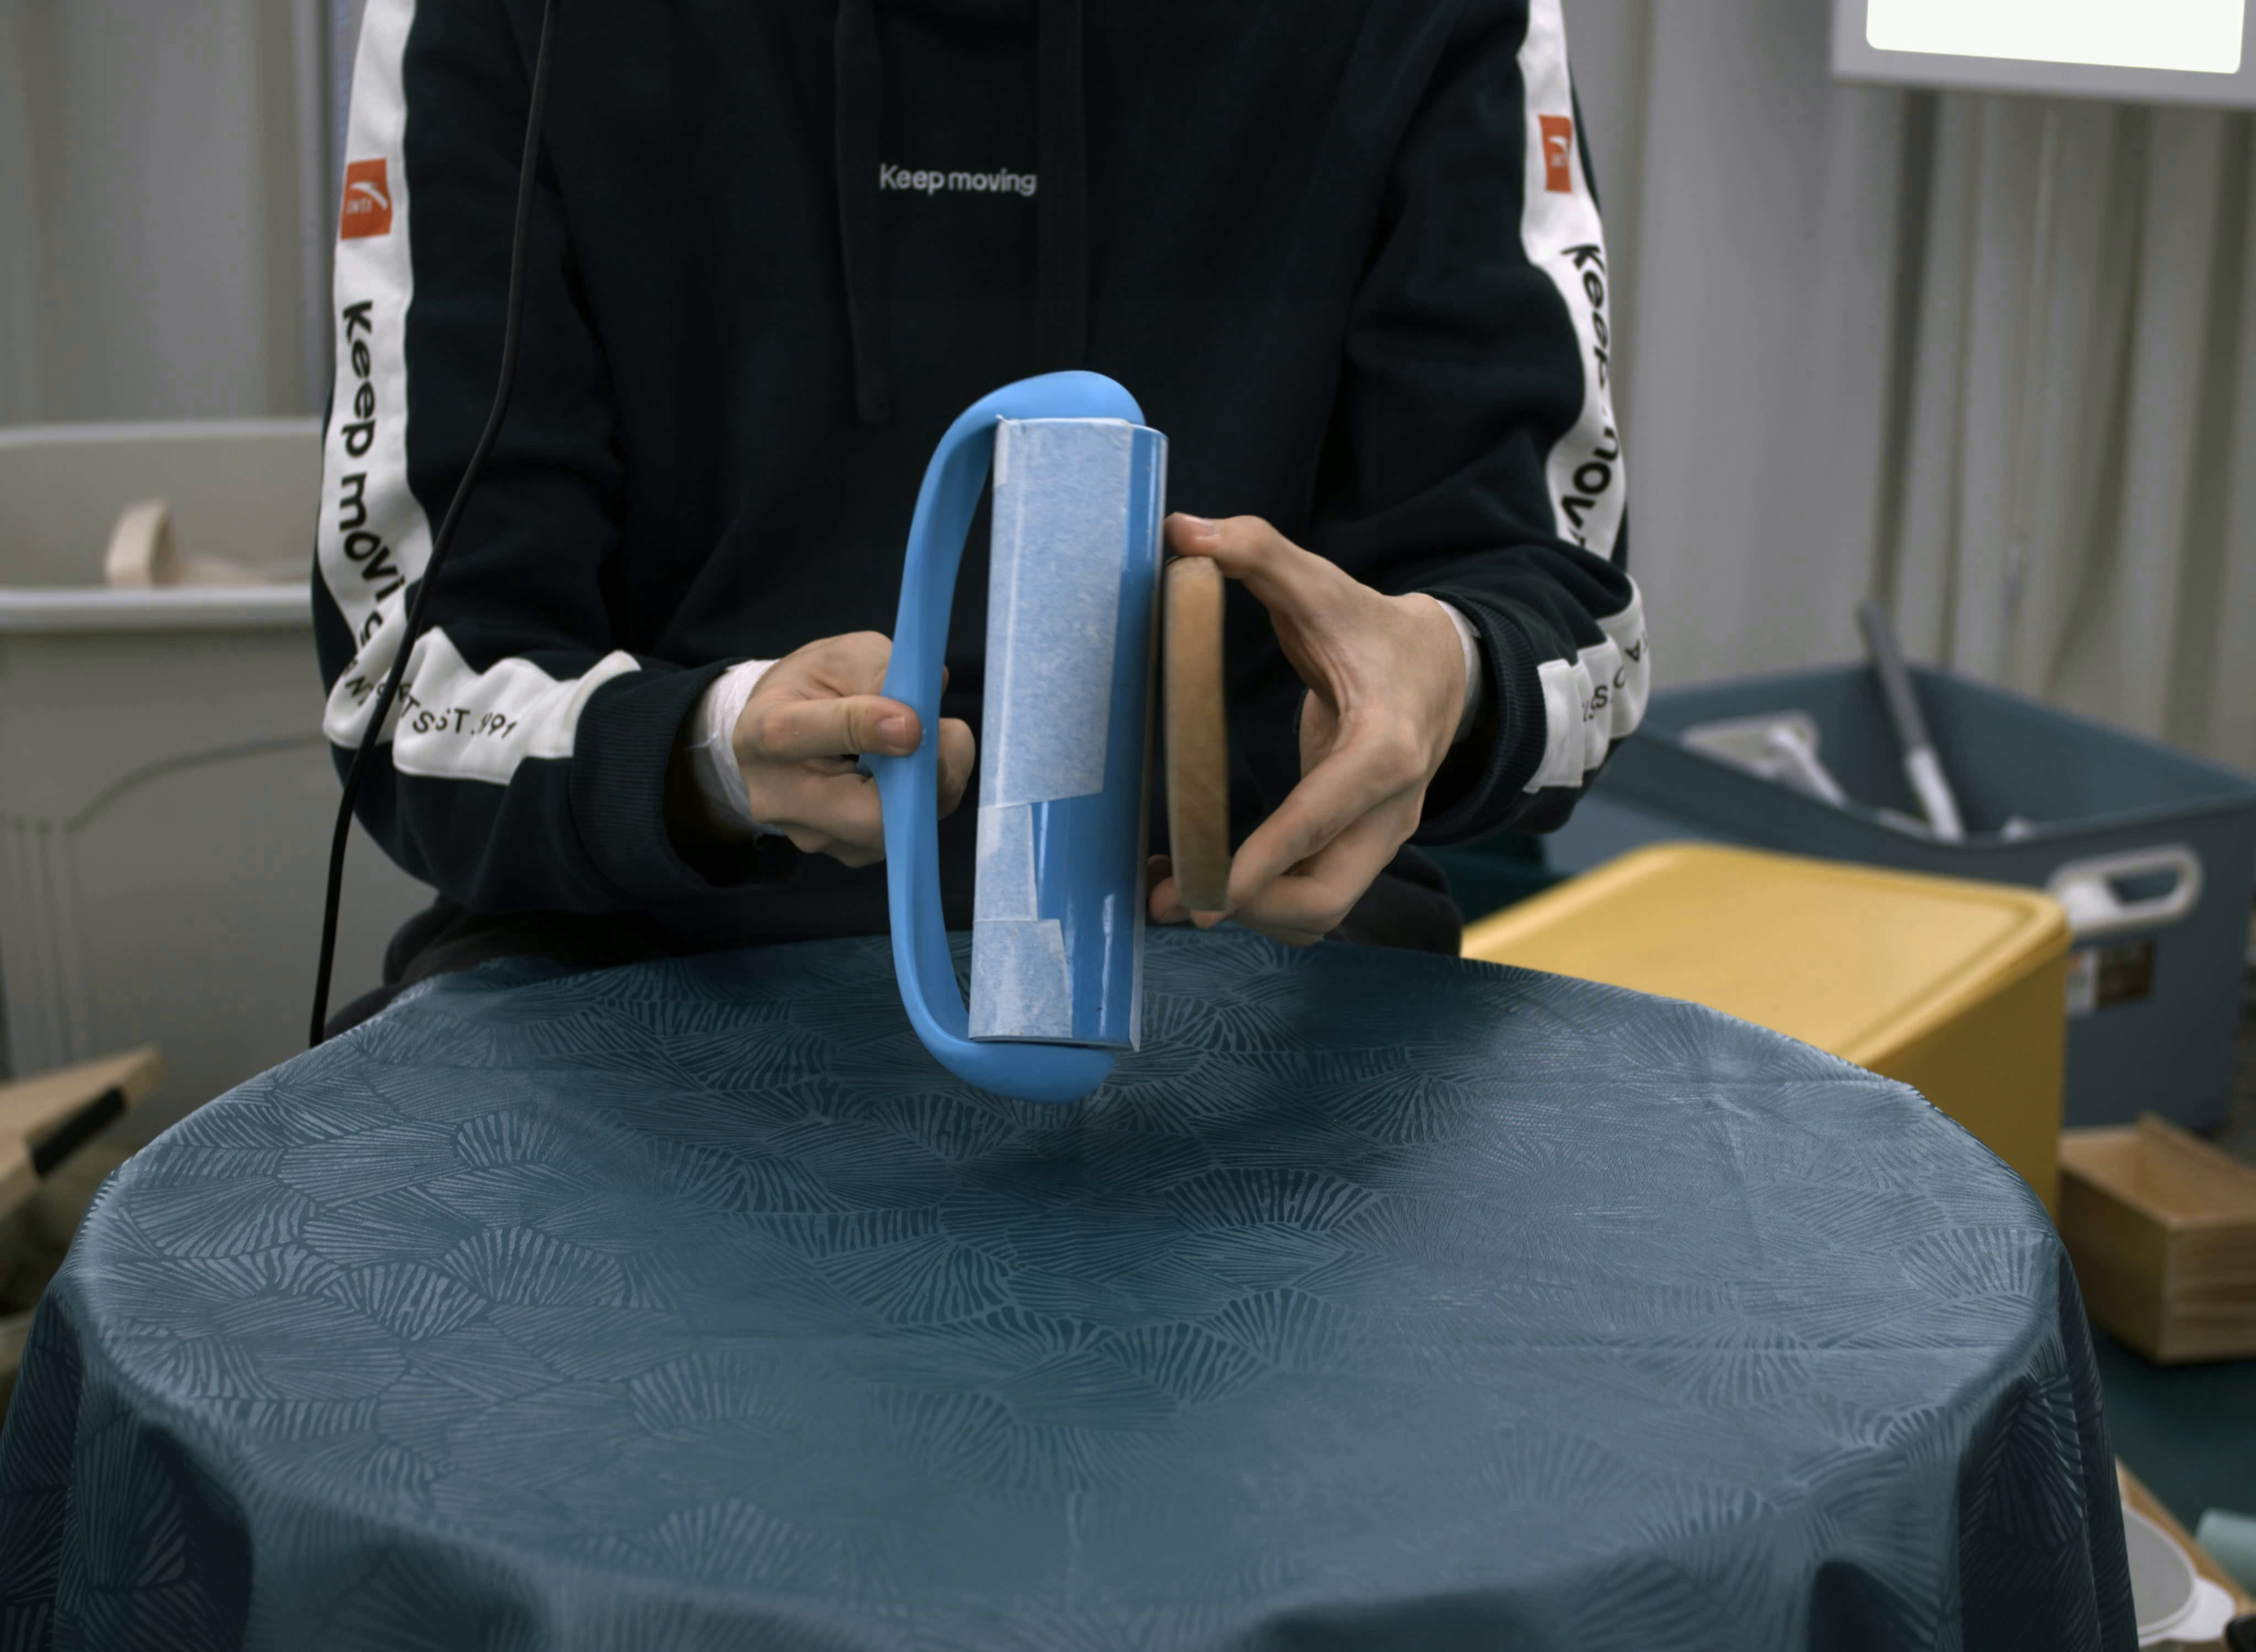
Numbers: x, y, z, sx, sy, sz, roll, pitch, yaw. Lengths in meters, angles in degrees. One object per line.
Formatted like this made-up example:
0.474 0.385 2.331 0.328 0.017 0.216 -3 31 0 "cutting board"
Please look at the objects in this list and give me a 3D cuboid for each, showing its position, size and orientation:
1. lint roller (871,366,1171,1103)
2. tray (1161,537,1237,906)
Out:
-0.049 -0.023 1.680 0.068 0.229 0.179 4 -7 -31 "lint roller"
0.021 -0.034 1.603 0.020 0.102 0.230 1 6 -3 "tray"
